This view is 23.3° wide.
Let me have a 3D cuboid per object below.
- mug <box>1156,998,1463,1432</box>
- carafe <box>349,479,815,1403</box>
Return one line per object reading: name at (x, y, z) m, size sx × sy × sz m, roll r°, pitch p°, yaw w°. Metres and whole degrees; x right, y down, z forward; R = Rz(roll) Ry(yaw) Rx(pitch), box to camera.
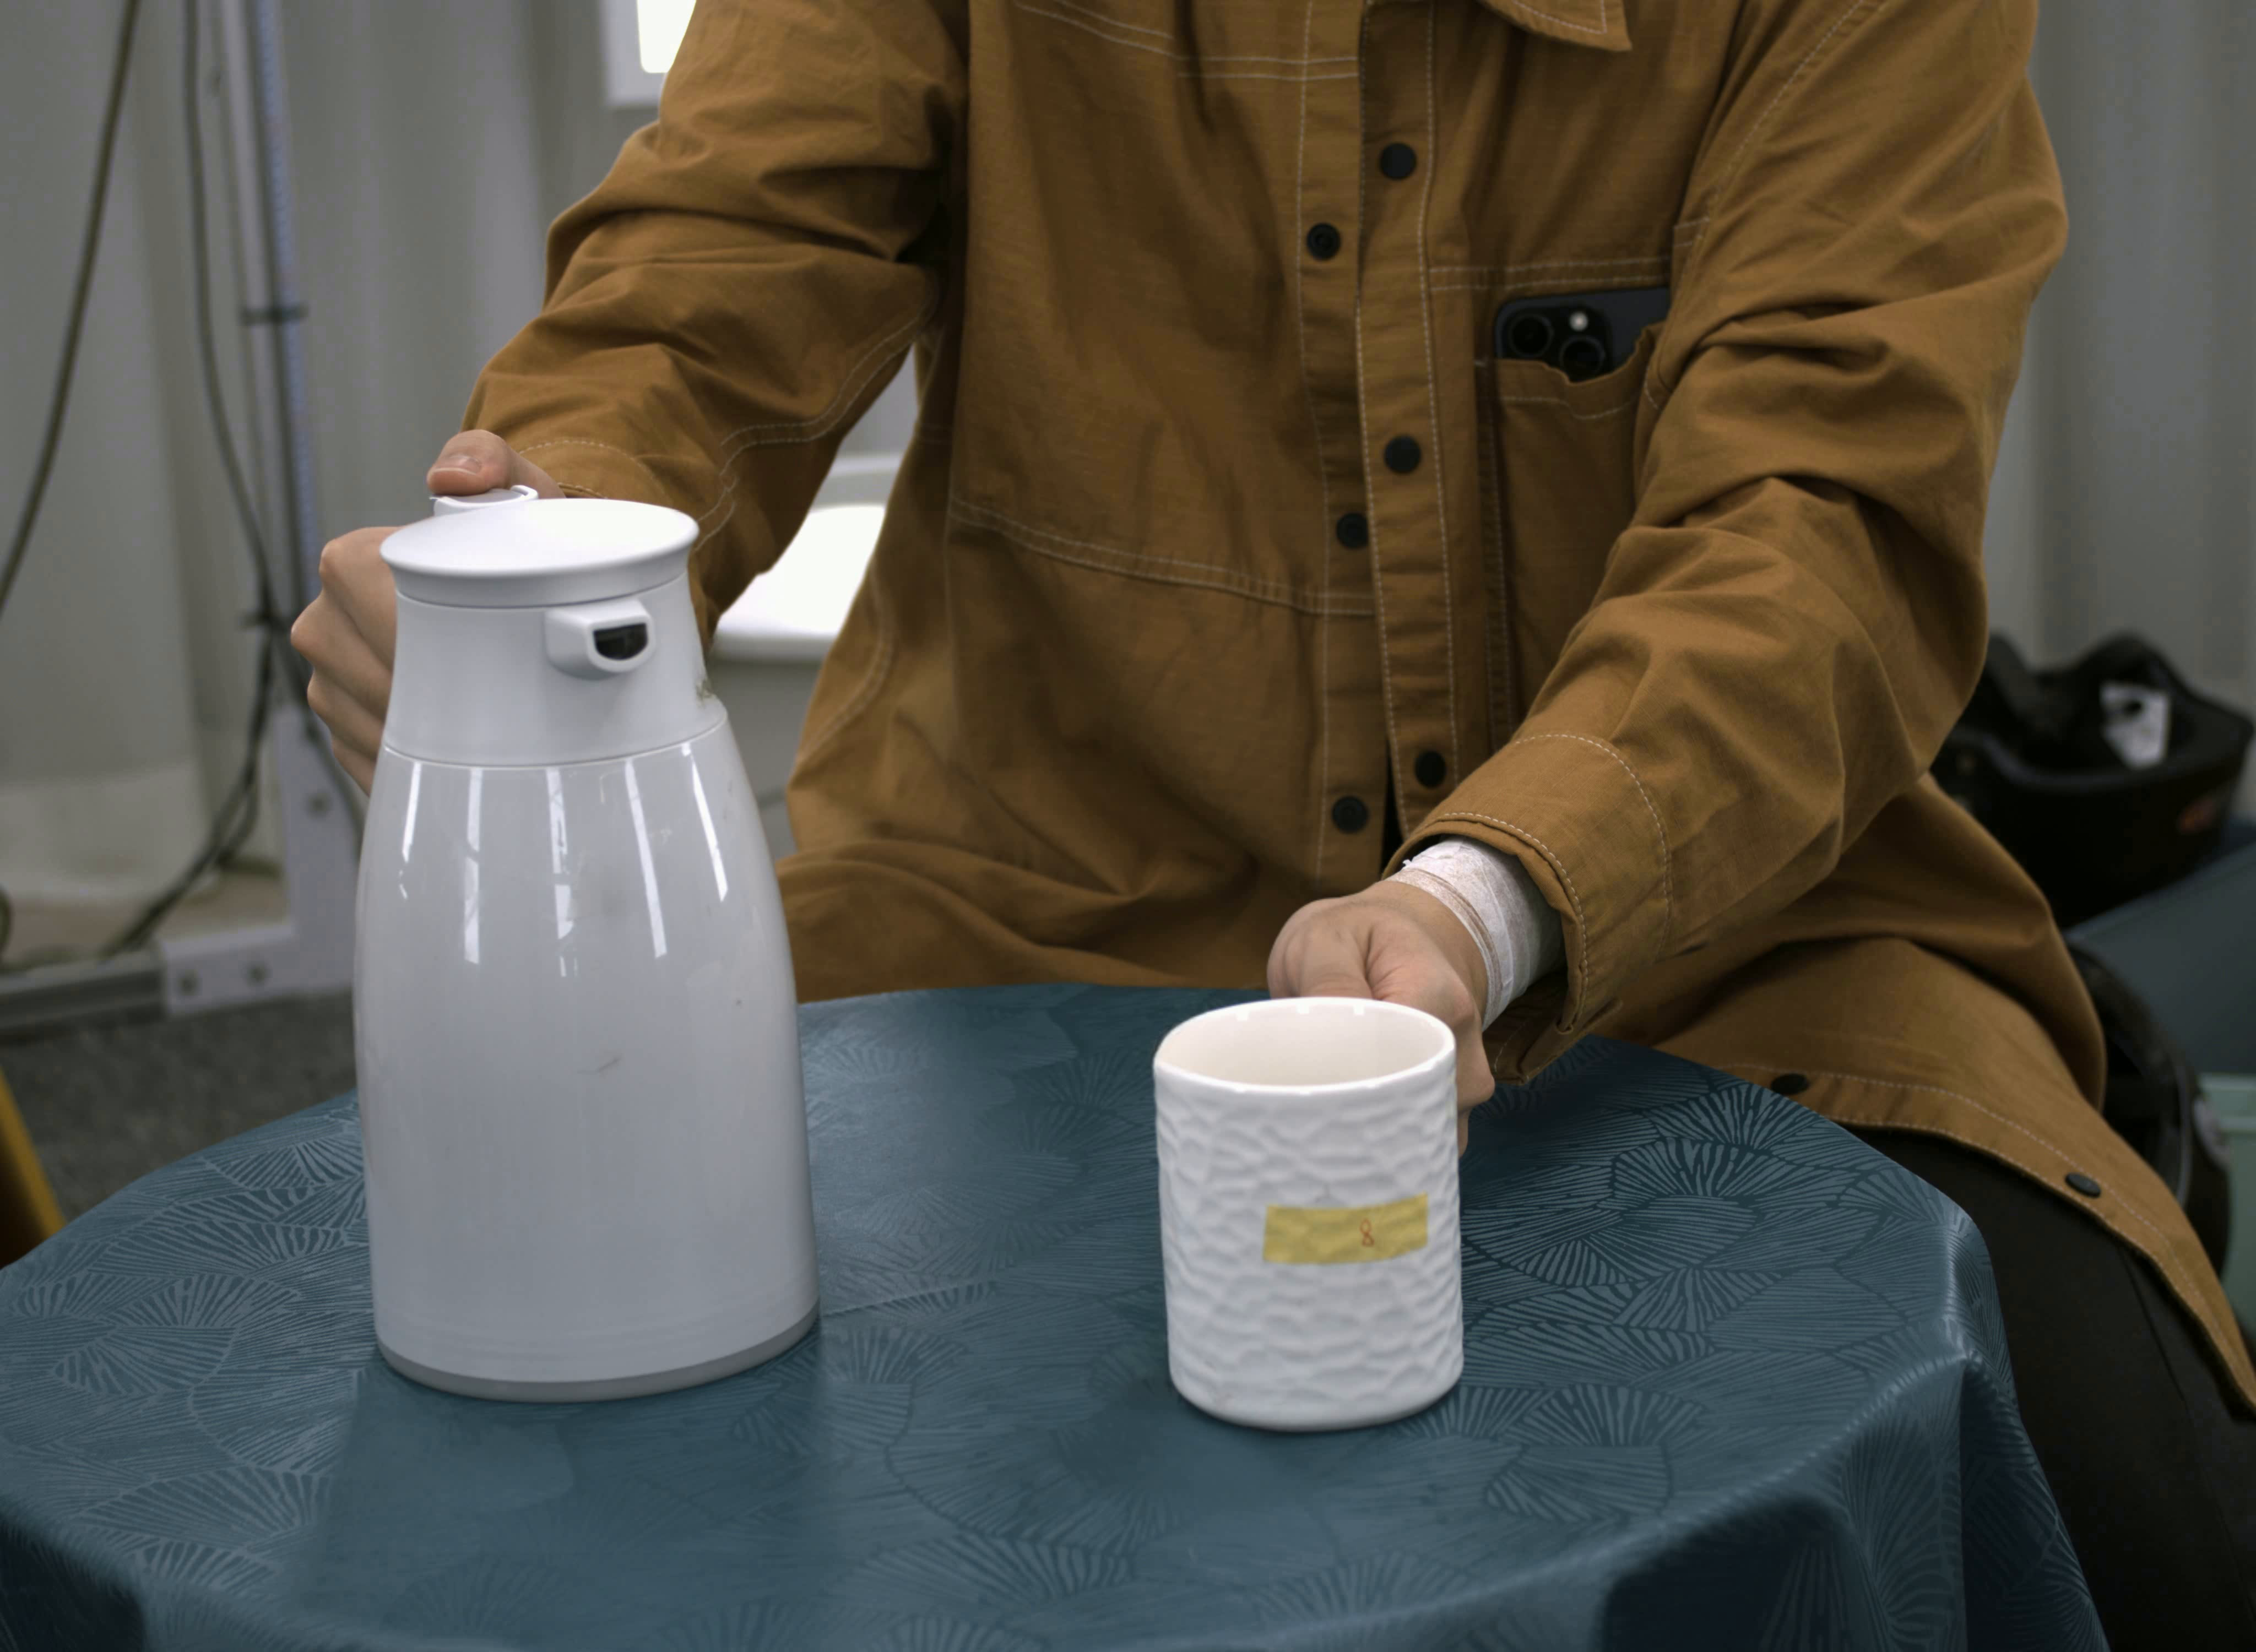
mug at (0.053, 0.105, 1.546) m, size 0.085 × 0.101 × 0.119 m, roll -1°, pitch 13°, yaw 6°
carafe at (-0.173, 0.025, 1.607) m, size 0.132 × 0.248 × 0.169 m, roll -10°, pitch 15°, yaw -26°
